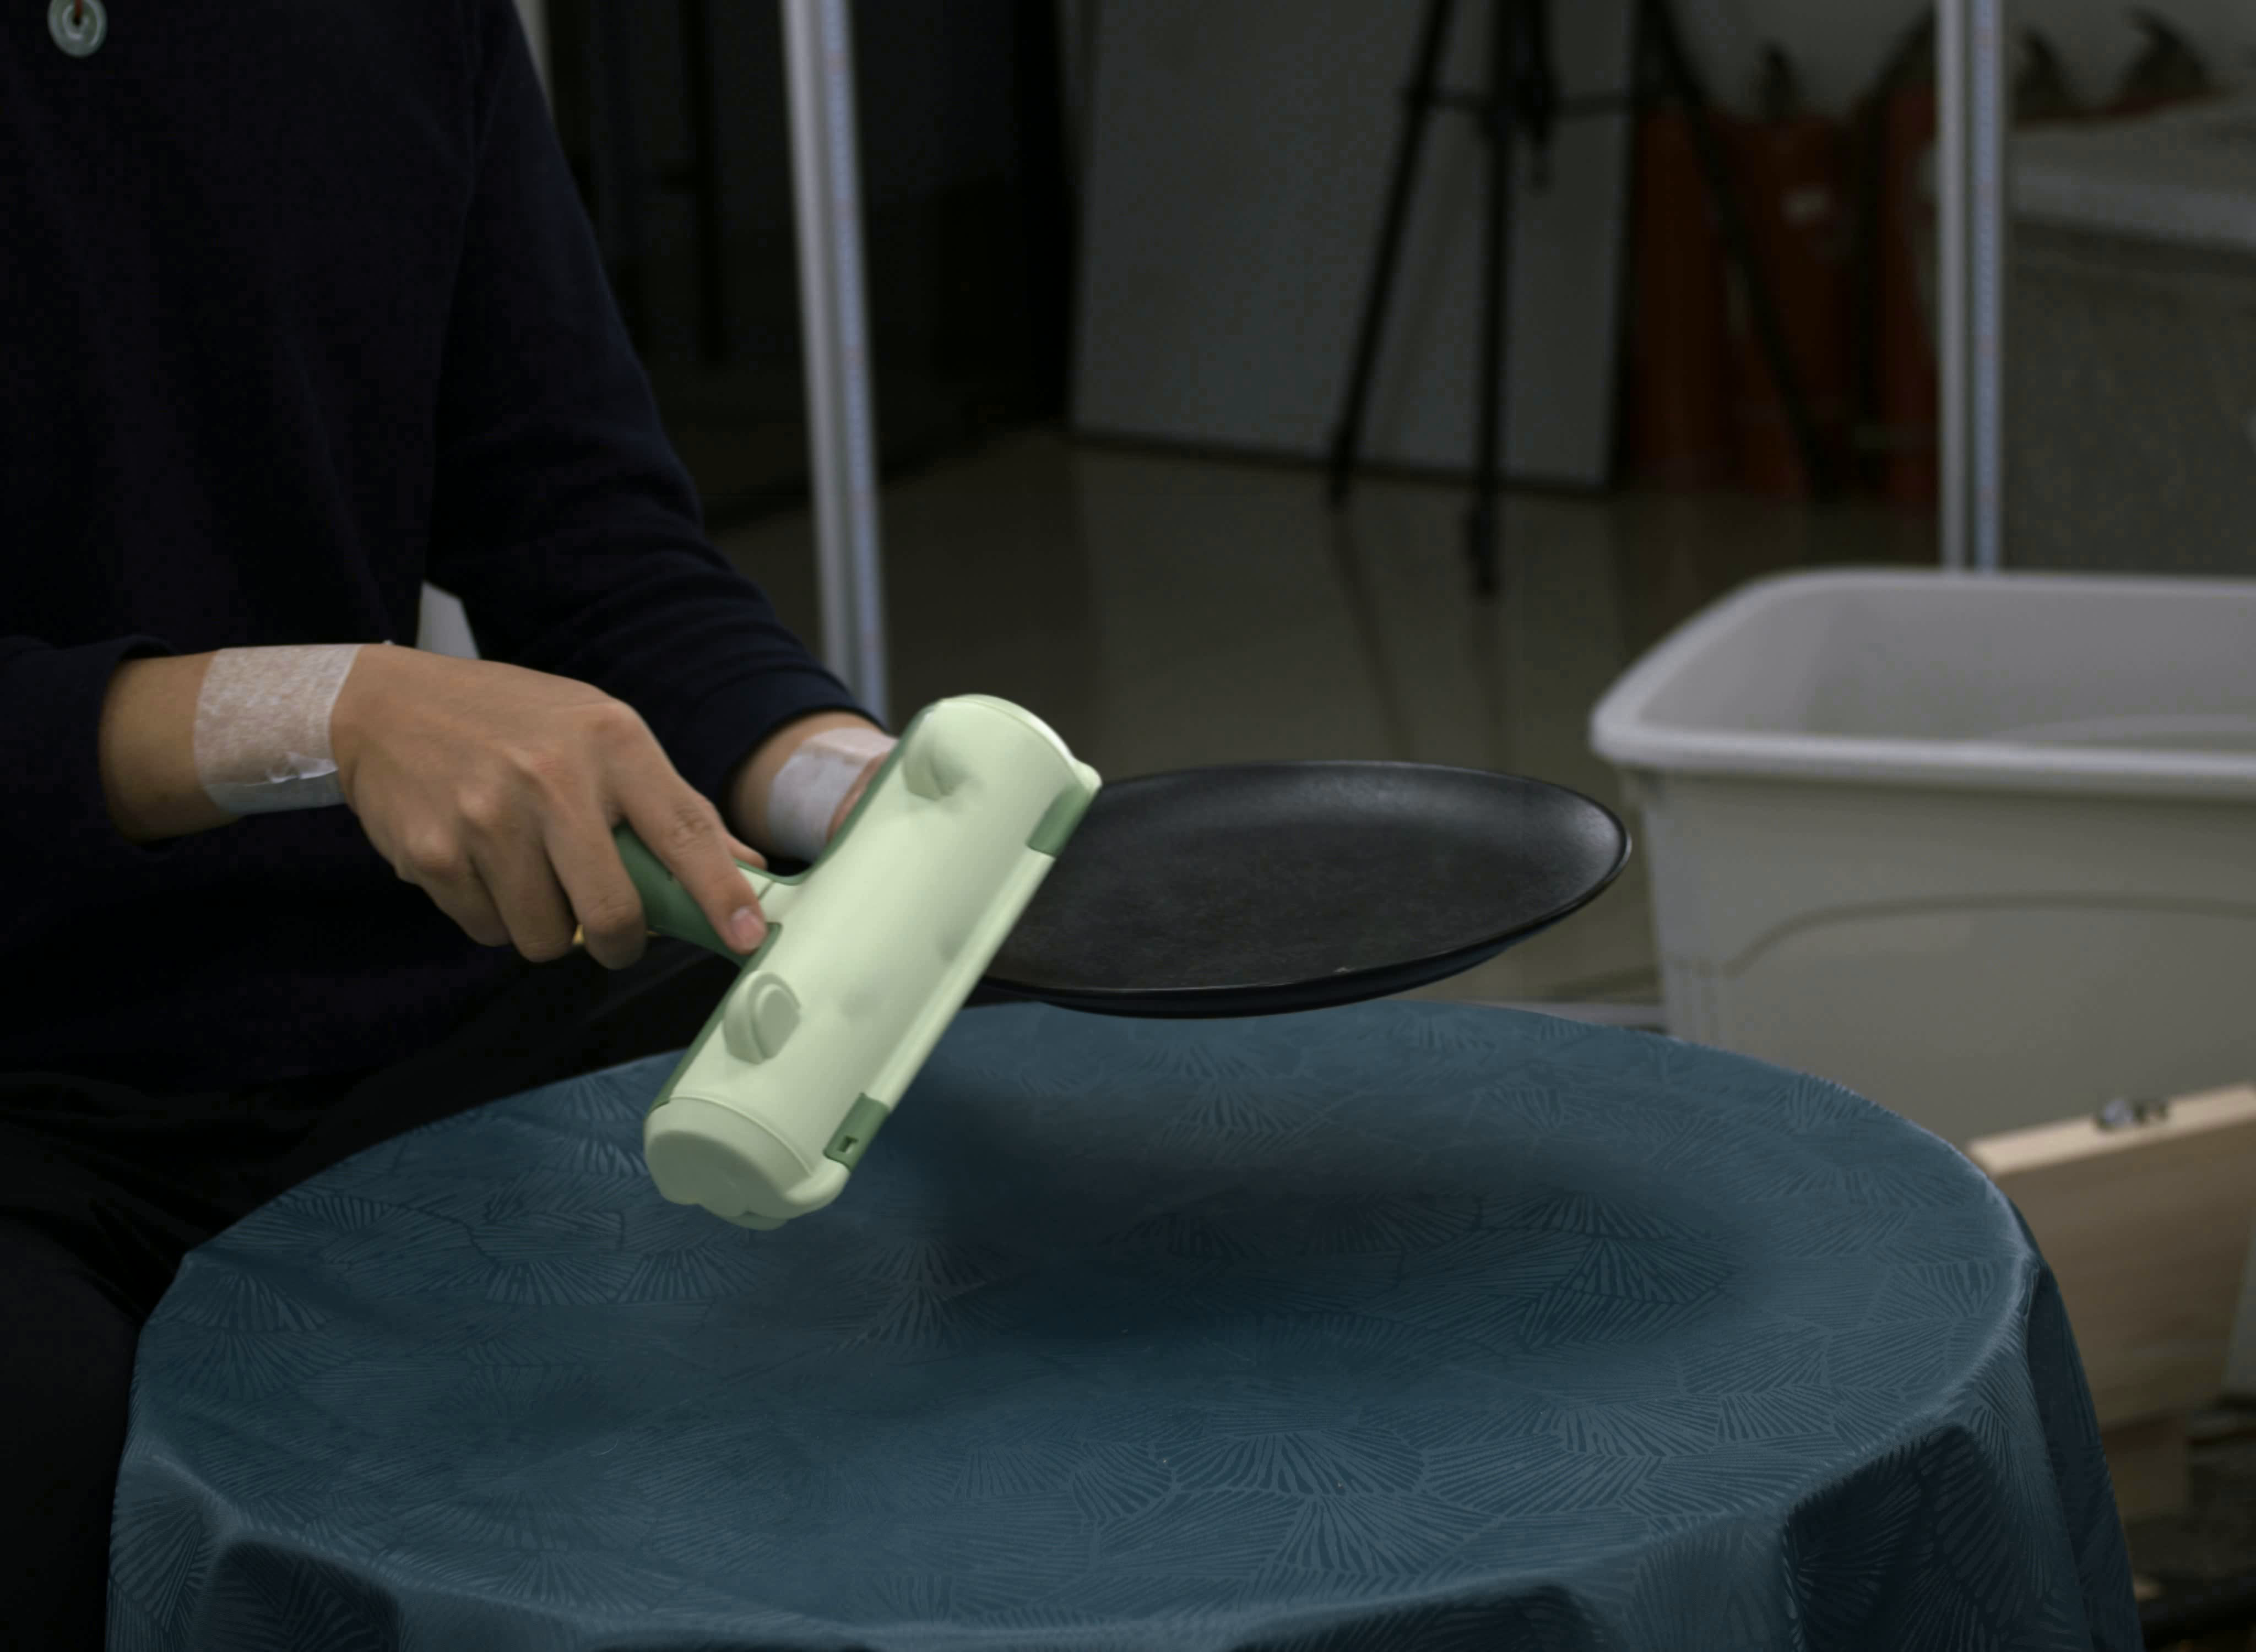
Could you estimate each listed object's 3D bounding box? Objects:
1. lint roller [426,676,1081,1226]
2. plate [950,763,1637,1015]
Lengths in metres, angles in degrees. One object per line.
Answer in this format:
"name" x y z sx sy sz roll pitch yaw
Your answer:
"lint roller" -0.132 0.008 1.653 0.182 0.083 0.198 26 53 8
"plate" 0.044 0.021 1.728 0.241 0.023 0.245 -6 15 1
